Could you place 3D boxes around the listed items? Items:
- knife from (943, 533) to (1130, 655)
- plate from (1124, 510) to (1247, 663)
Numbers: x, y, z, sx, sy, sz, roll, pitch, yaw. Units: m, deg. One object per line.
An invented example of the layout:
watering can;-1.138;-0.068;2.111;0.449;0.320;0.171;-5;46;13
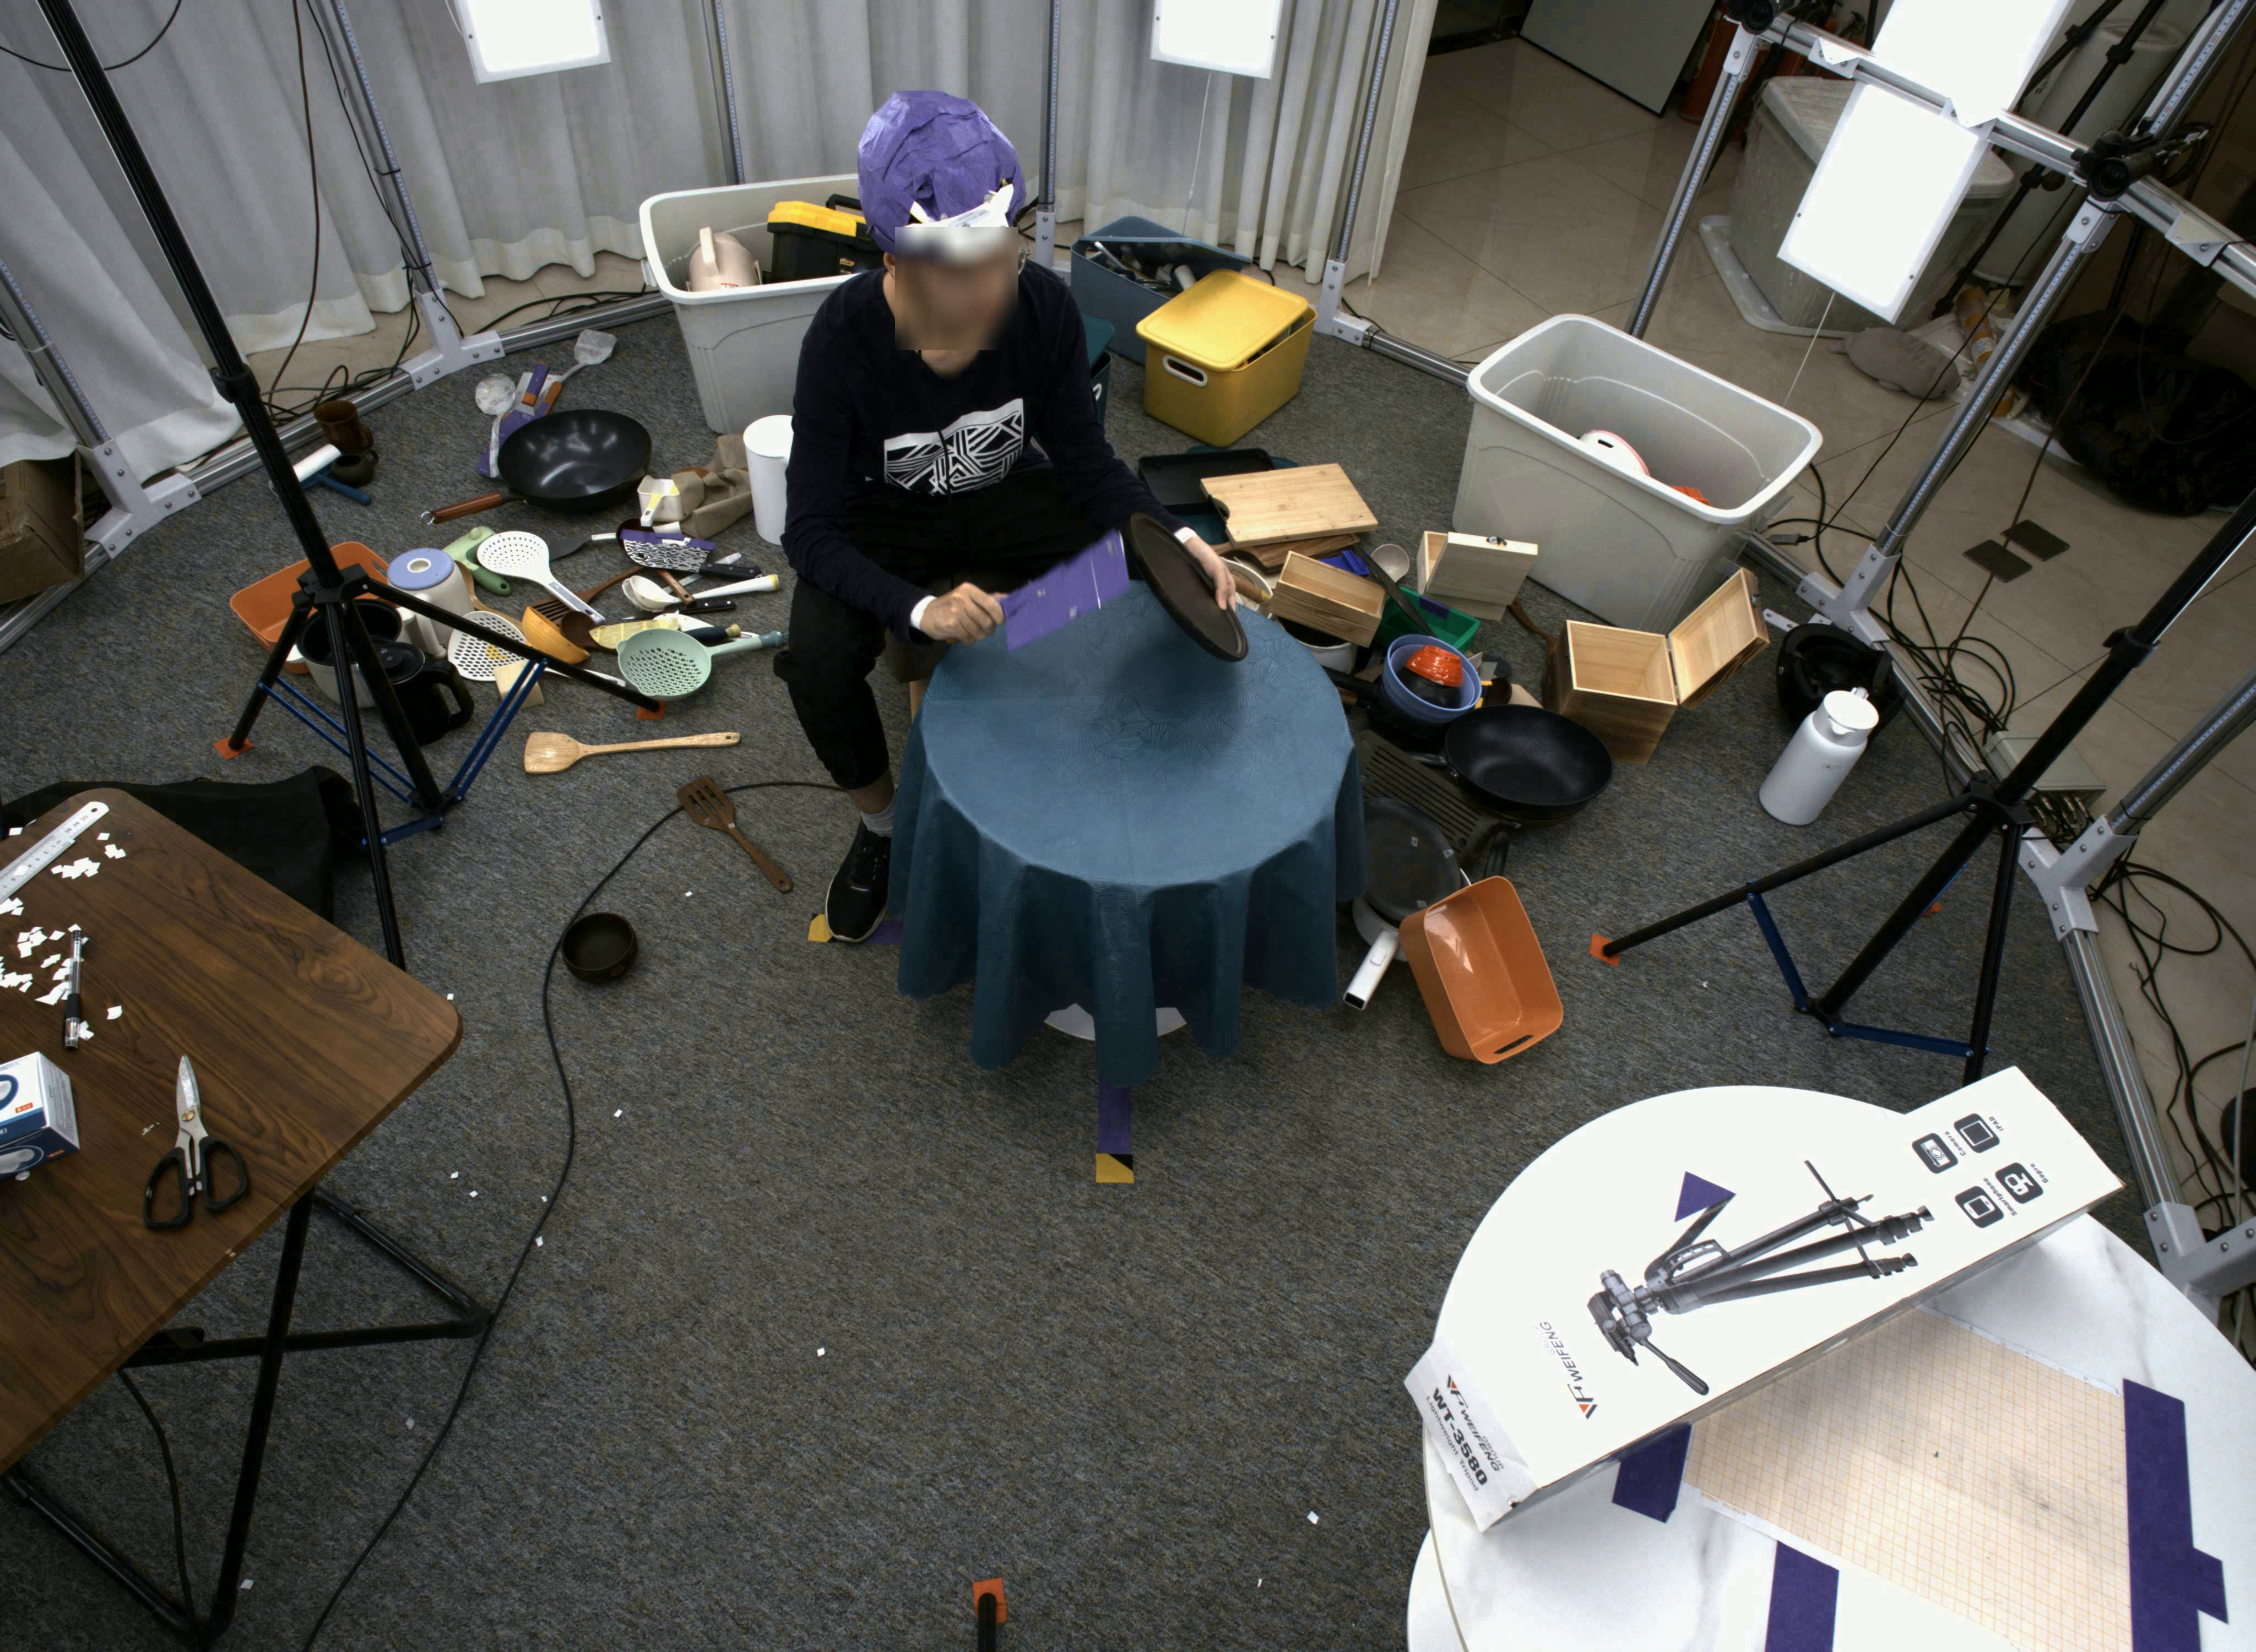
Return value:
knife;-0.127;-0.287;1.728;0.313;0.032;0.106;-23;59;32
plate;0.081;-0.330;1.789;0.029;0.250;0.261;-37;47;23
